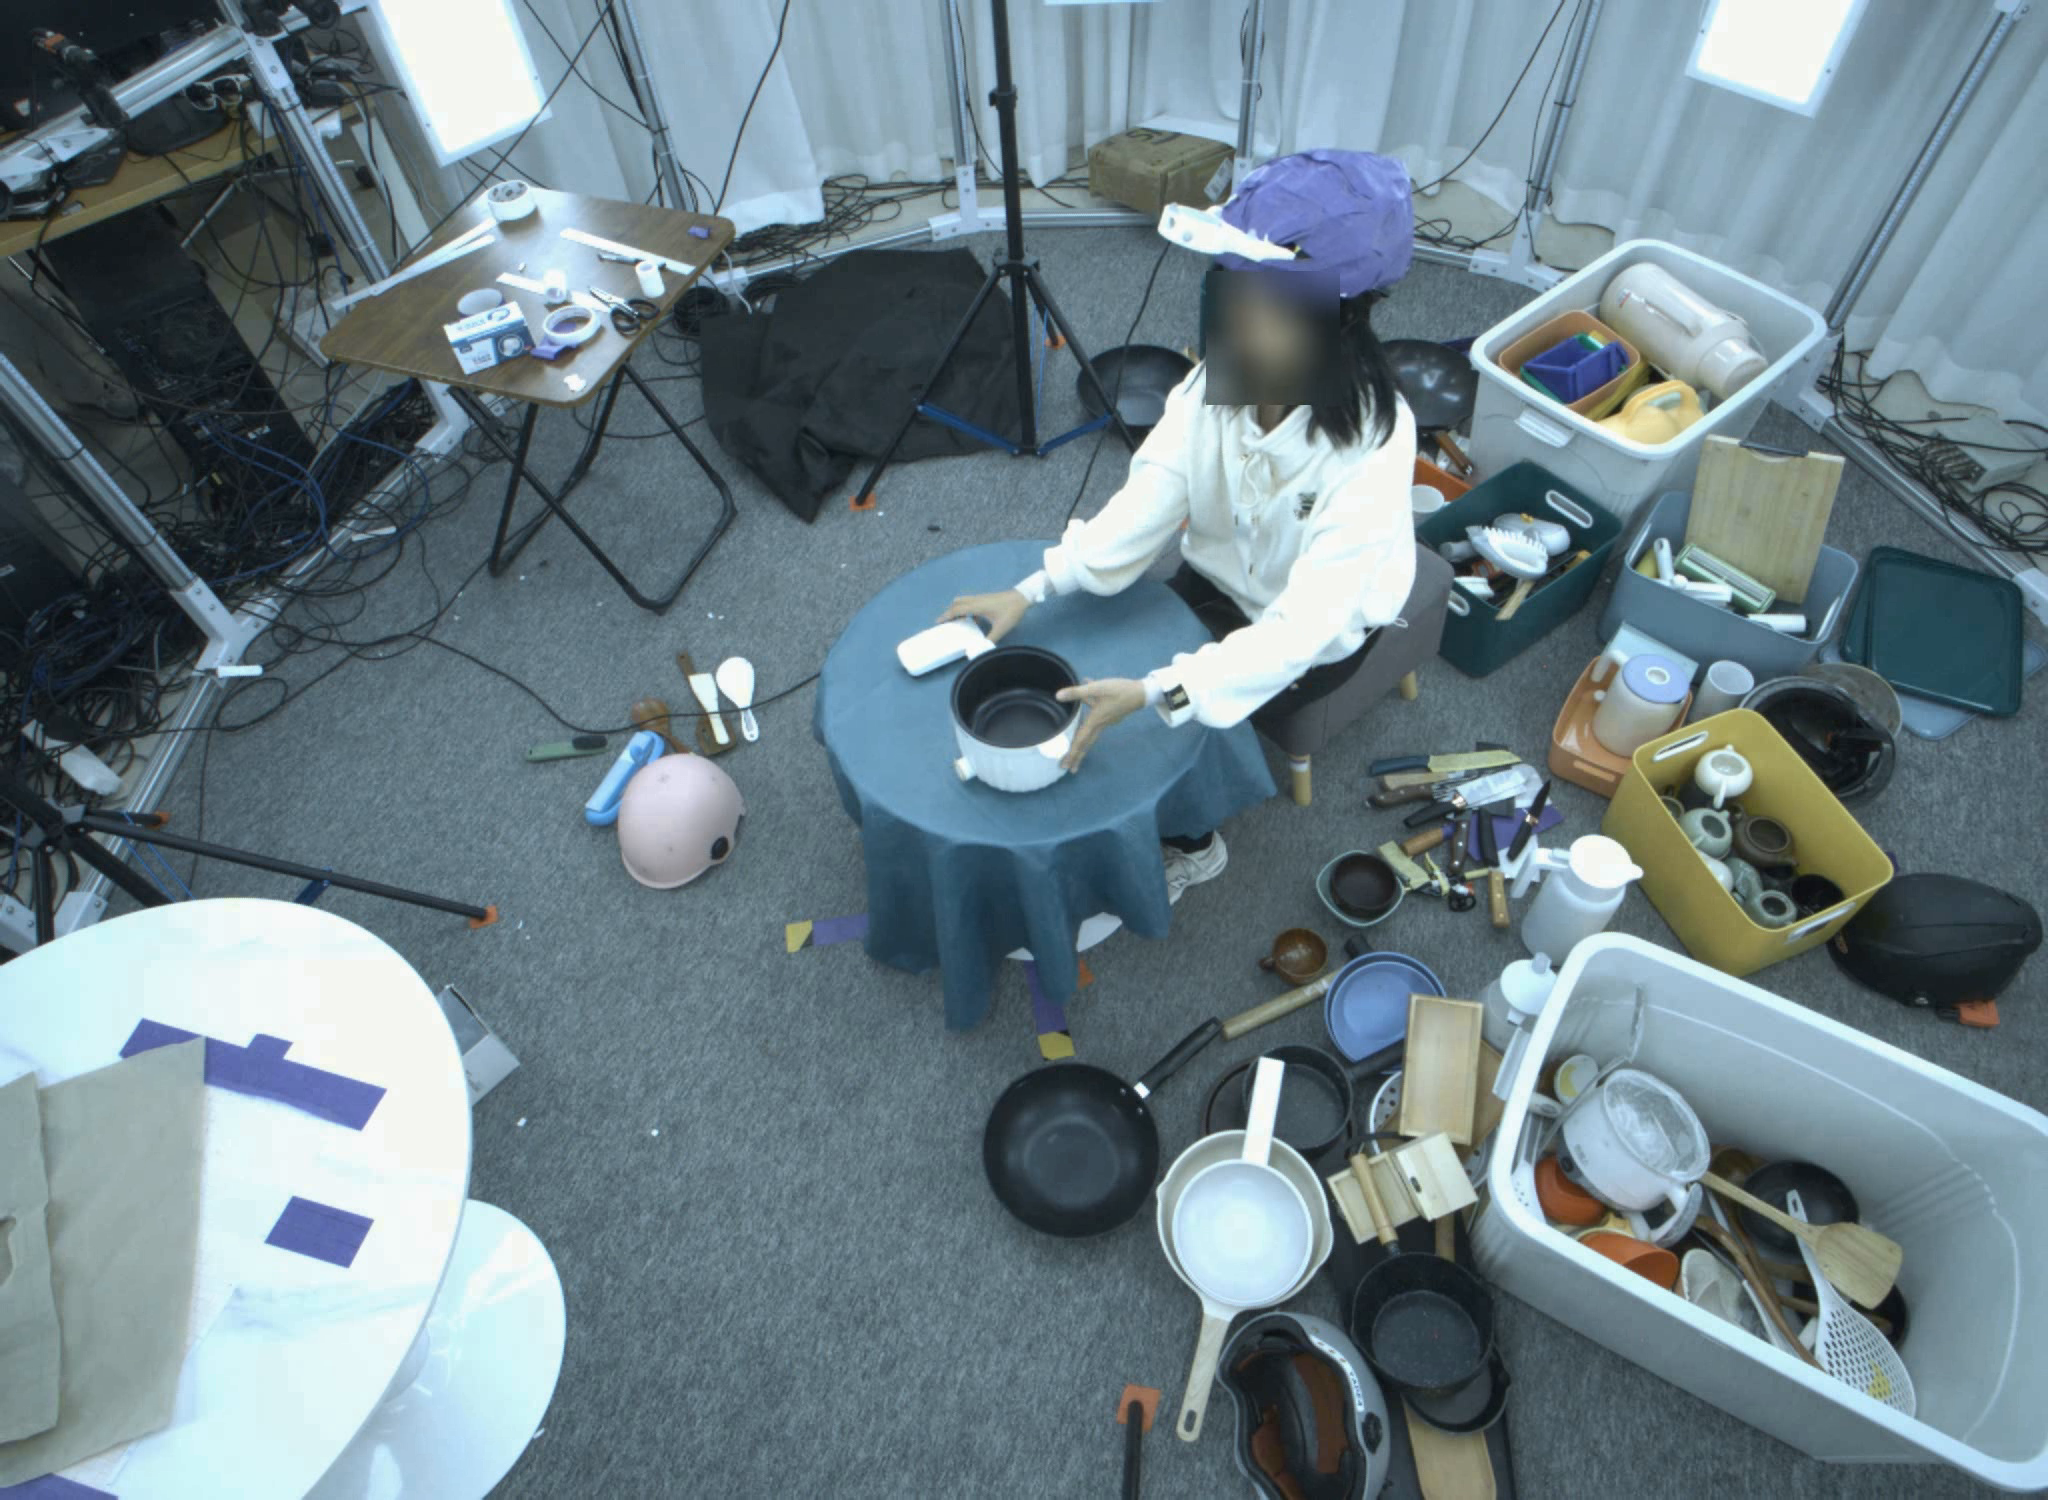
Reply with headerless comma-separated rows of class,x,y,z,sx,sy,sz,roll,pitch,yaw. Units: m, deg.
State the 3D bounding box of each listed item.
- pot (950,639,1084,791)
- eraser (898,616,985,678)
pot,-0.012,-0.034,1.727,0.192,0.144,0.236,-27,57,-19
eraser,-0.126,-0.158,1.885,0.132,0.035,0.062,-25,59,-14
